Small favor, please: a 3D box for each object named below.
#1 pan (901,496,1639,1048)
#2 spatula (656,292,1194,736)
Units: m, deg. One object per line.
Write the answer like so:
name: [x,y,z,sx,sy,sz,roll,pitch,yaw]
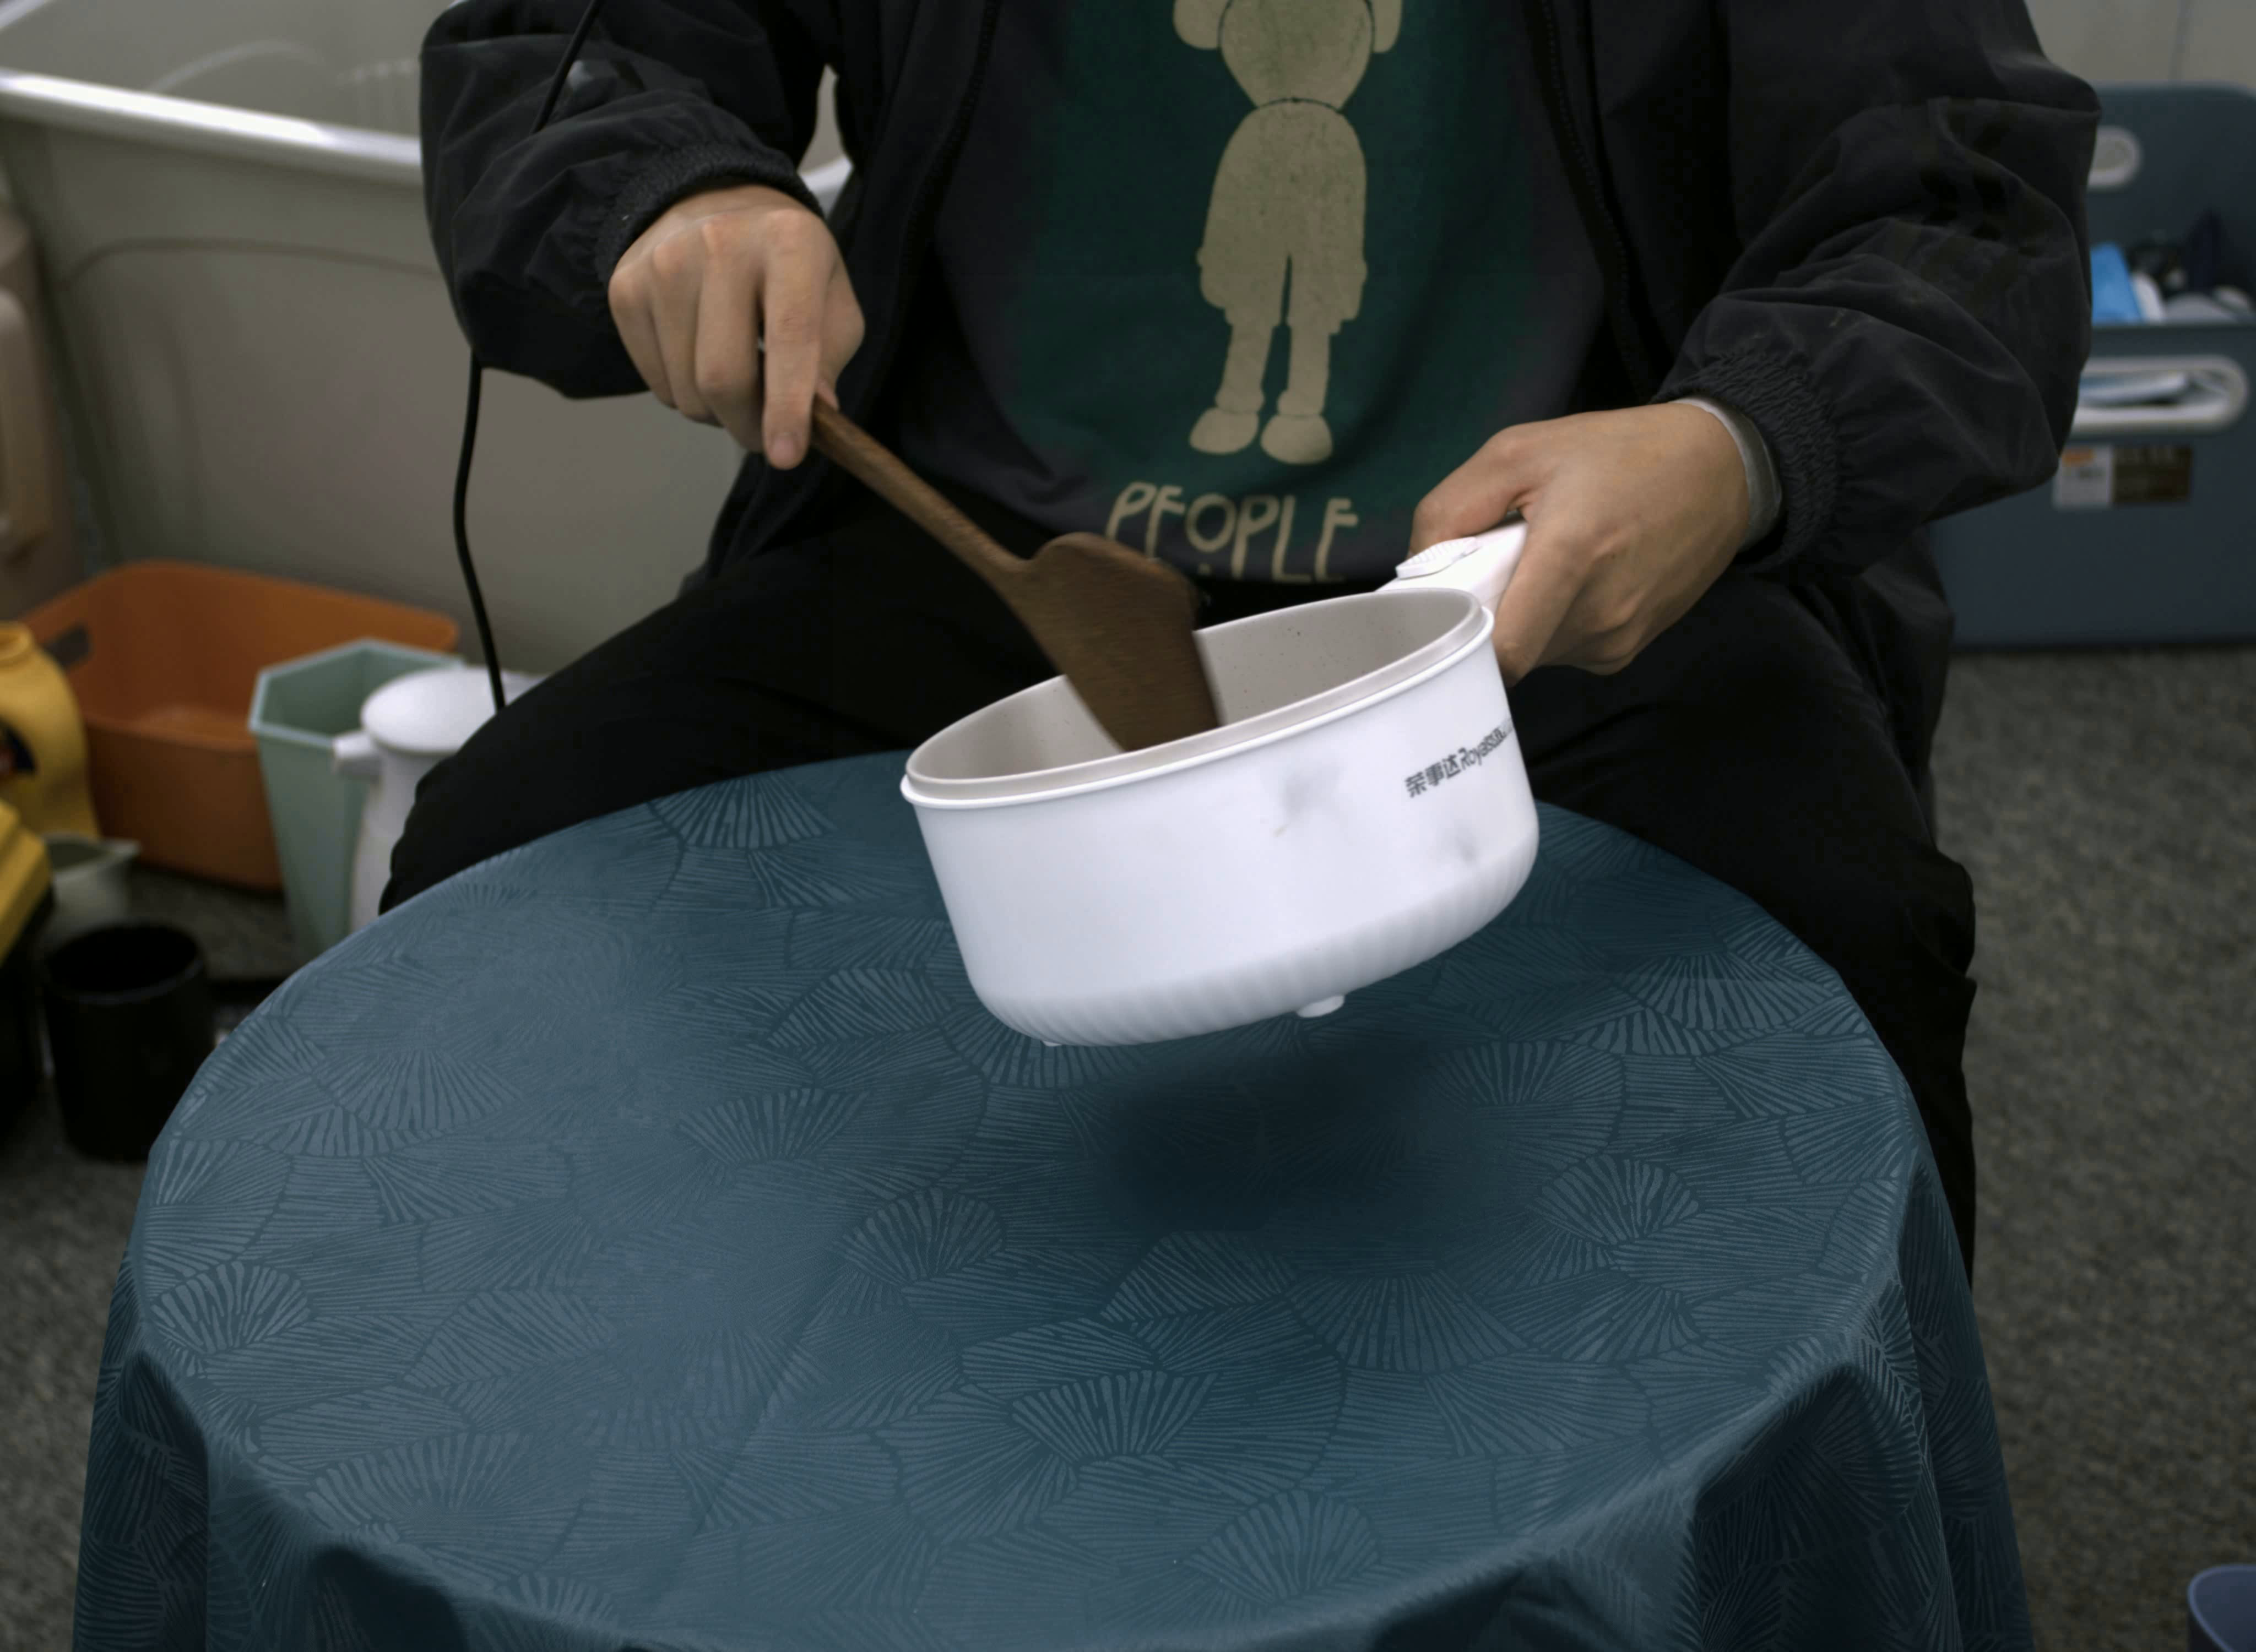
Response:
pan: [0.076,-0.021,1.896,0.199,0.102,0.359,-10,11,36]
spatula: [-0.075,-0.113,1.940,0.016,0.095,0.388,-26,35,-18]
